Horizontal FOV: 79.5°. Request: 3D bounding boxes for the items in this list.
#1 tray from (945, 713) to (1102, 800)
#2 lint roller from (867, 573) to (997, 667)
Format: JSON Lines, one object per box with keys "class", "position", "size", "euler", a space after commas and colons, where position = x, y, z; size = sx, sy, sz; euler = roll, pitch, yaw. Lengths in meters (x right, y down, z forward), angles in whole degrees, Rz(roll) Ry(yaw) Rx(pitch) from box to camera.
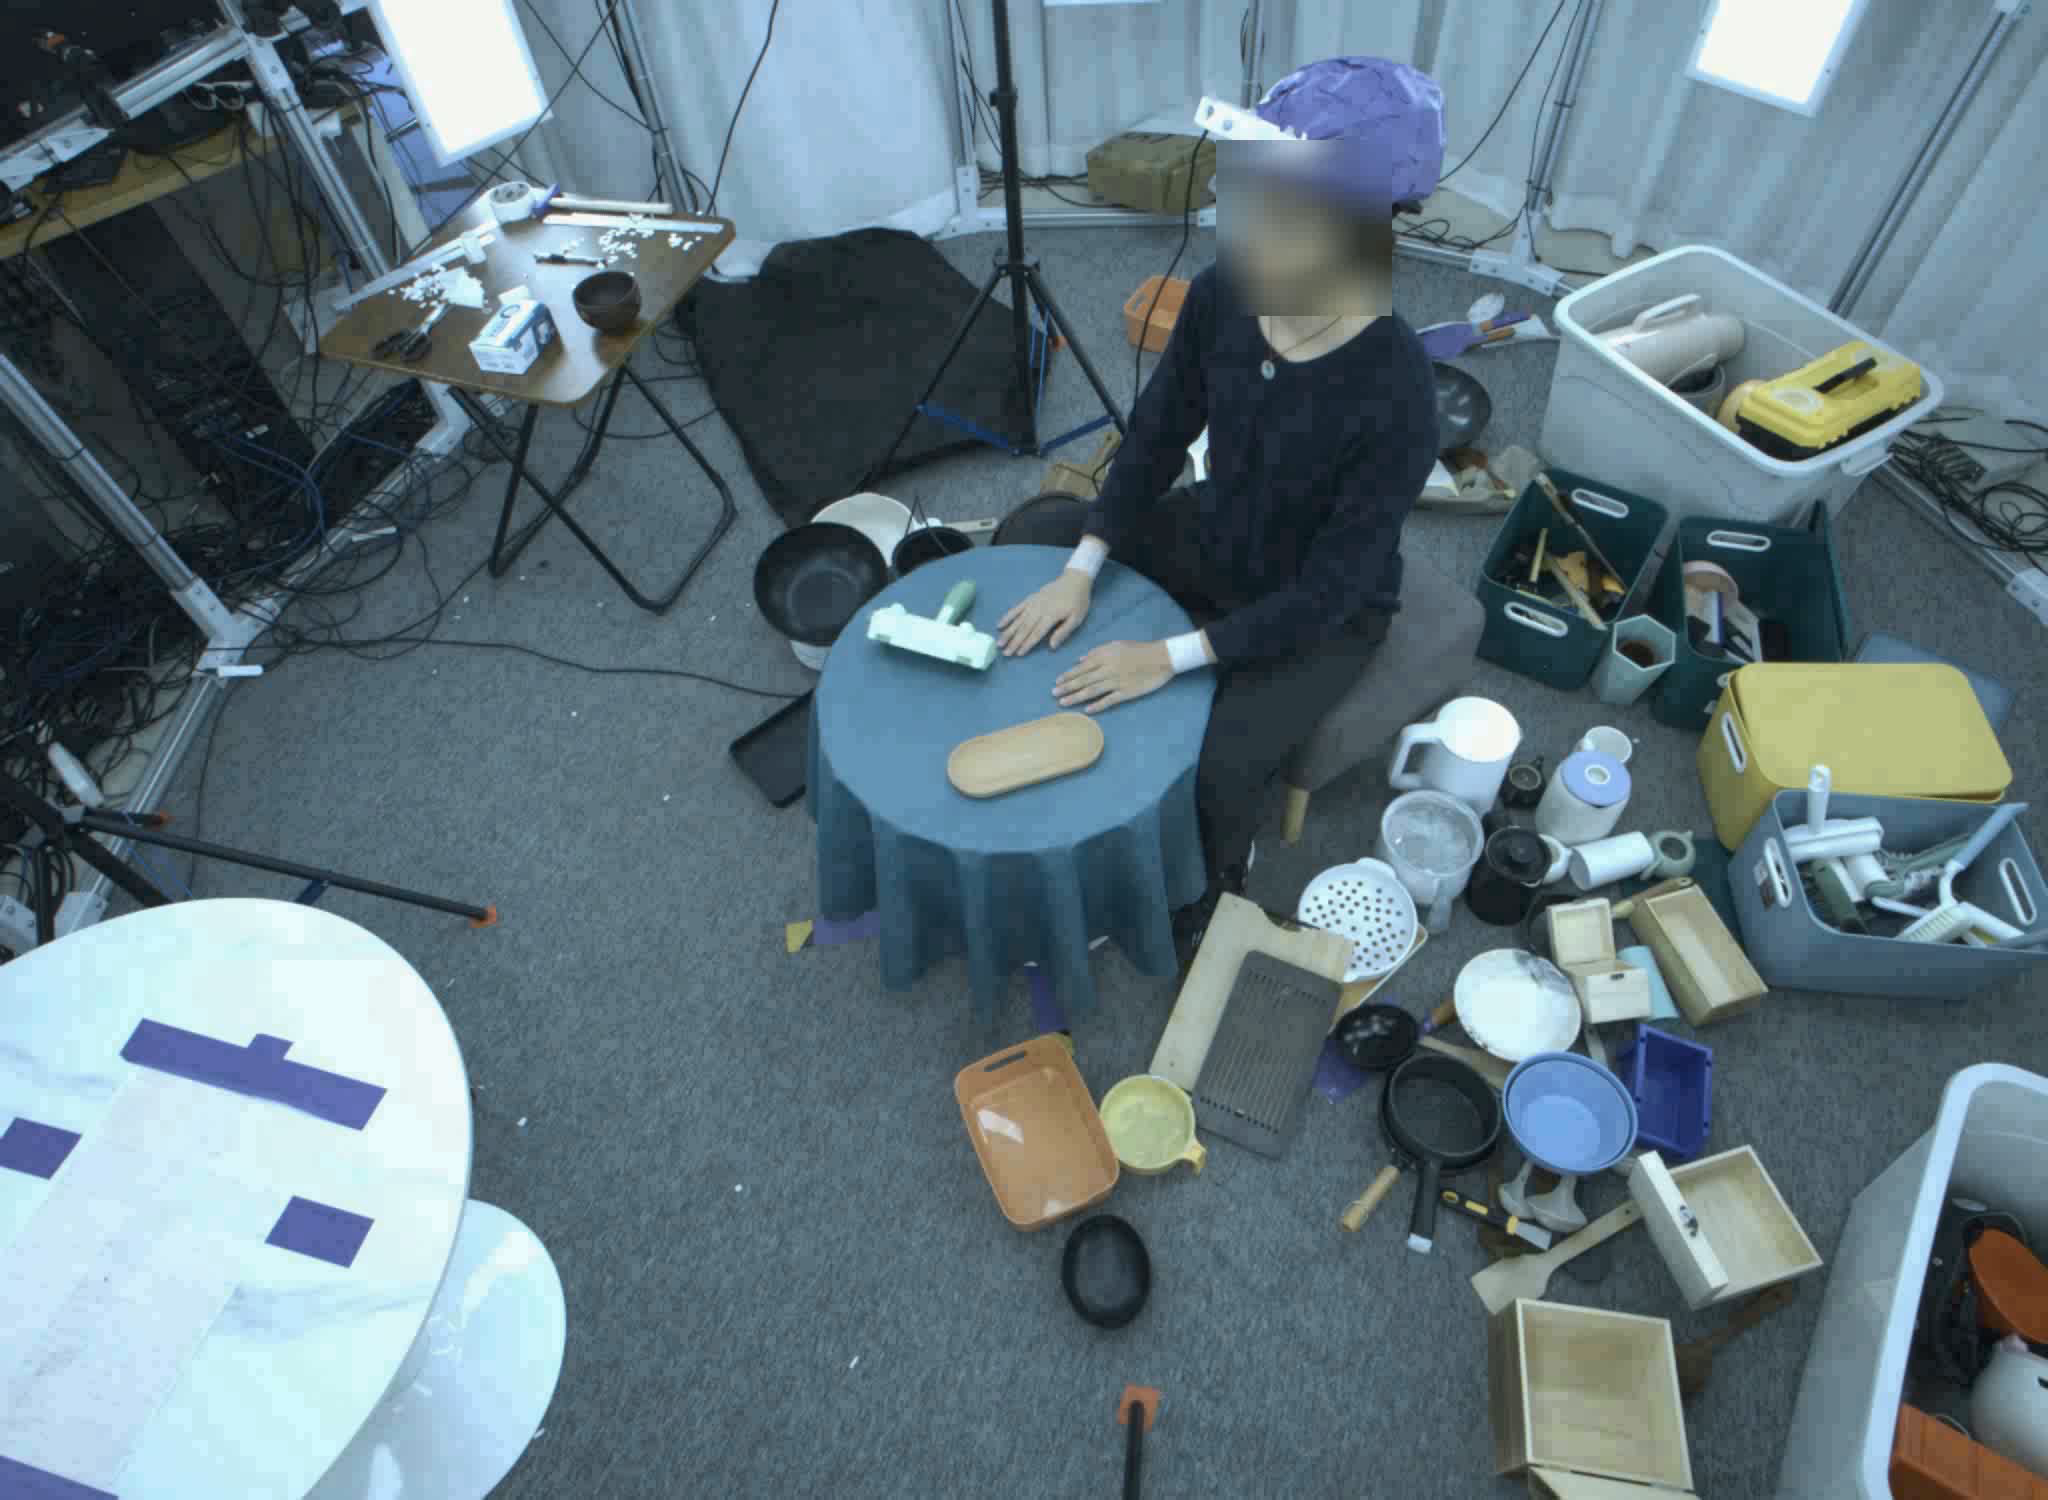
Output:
{"class": "tray", "position": [-0.001, 0.009, 1.771], "size": [0.232, 0.020, 0.100], "euler": [-18, 55, -8]}
{"class": "lint roller", "position": [-0.121, -0.222, 1.895], "size": [0.196, 0.083, 0.183], "euler": [16, 63, 13]}
